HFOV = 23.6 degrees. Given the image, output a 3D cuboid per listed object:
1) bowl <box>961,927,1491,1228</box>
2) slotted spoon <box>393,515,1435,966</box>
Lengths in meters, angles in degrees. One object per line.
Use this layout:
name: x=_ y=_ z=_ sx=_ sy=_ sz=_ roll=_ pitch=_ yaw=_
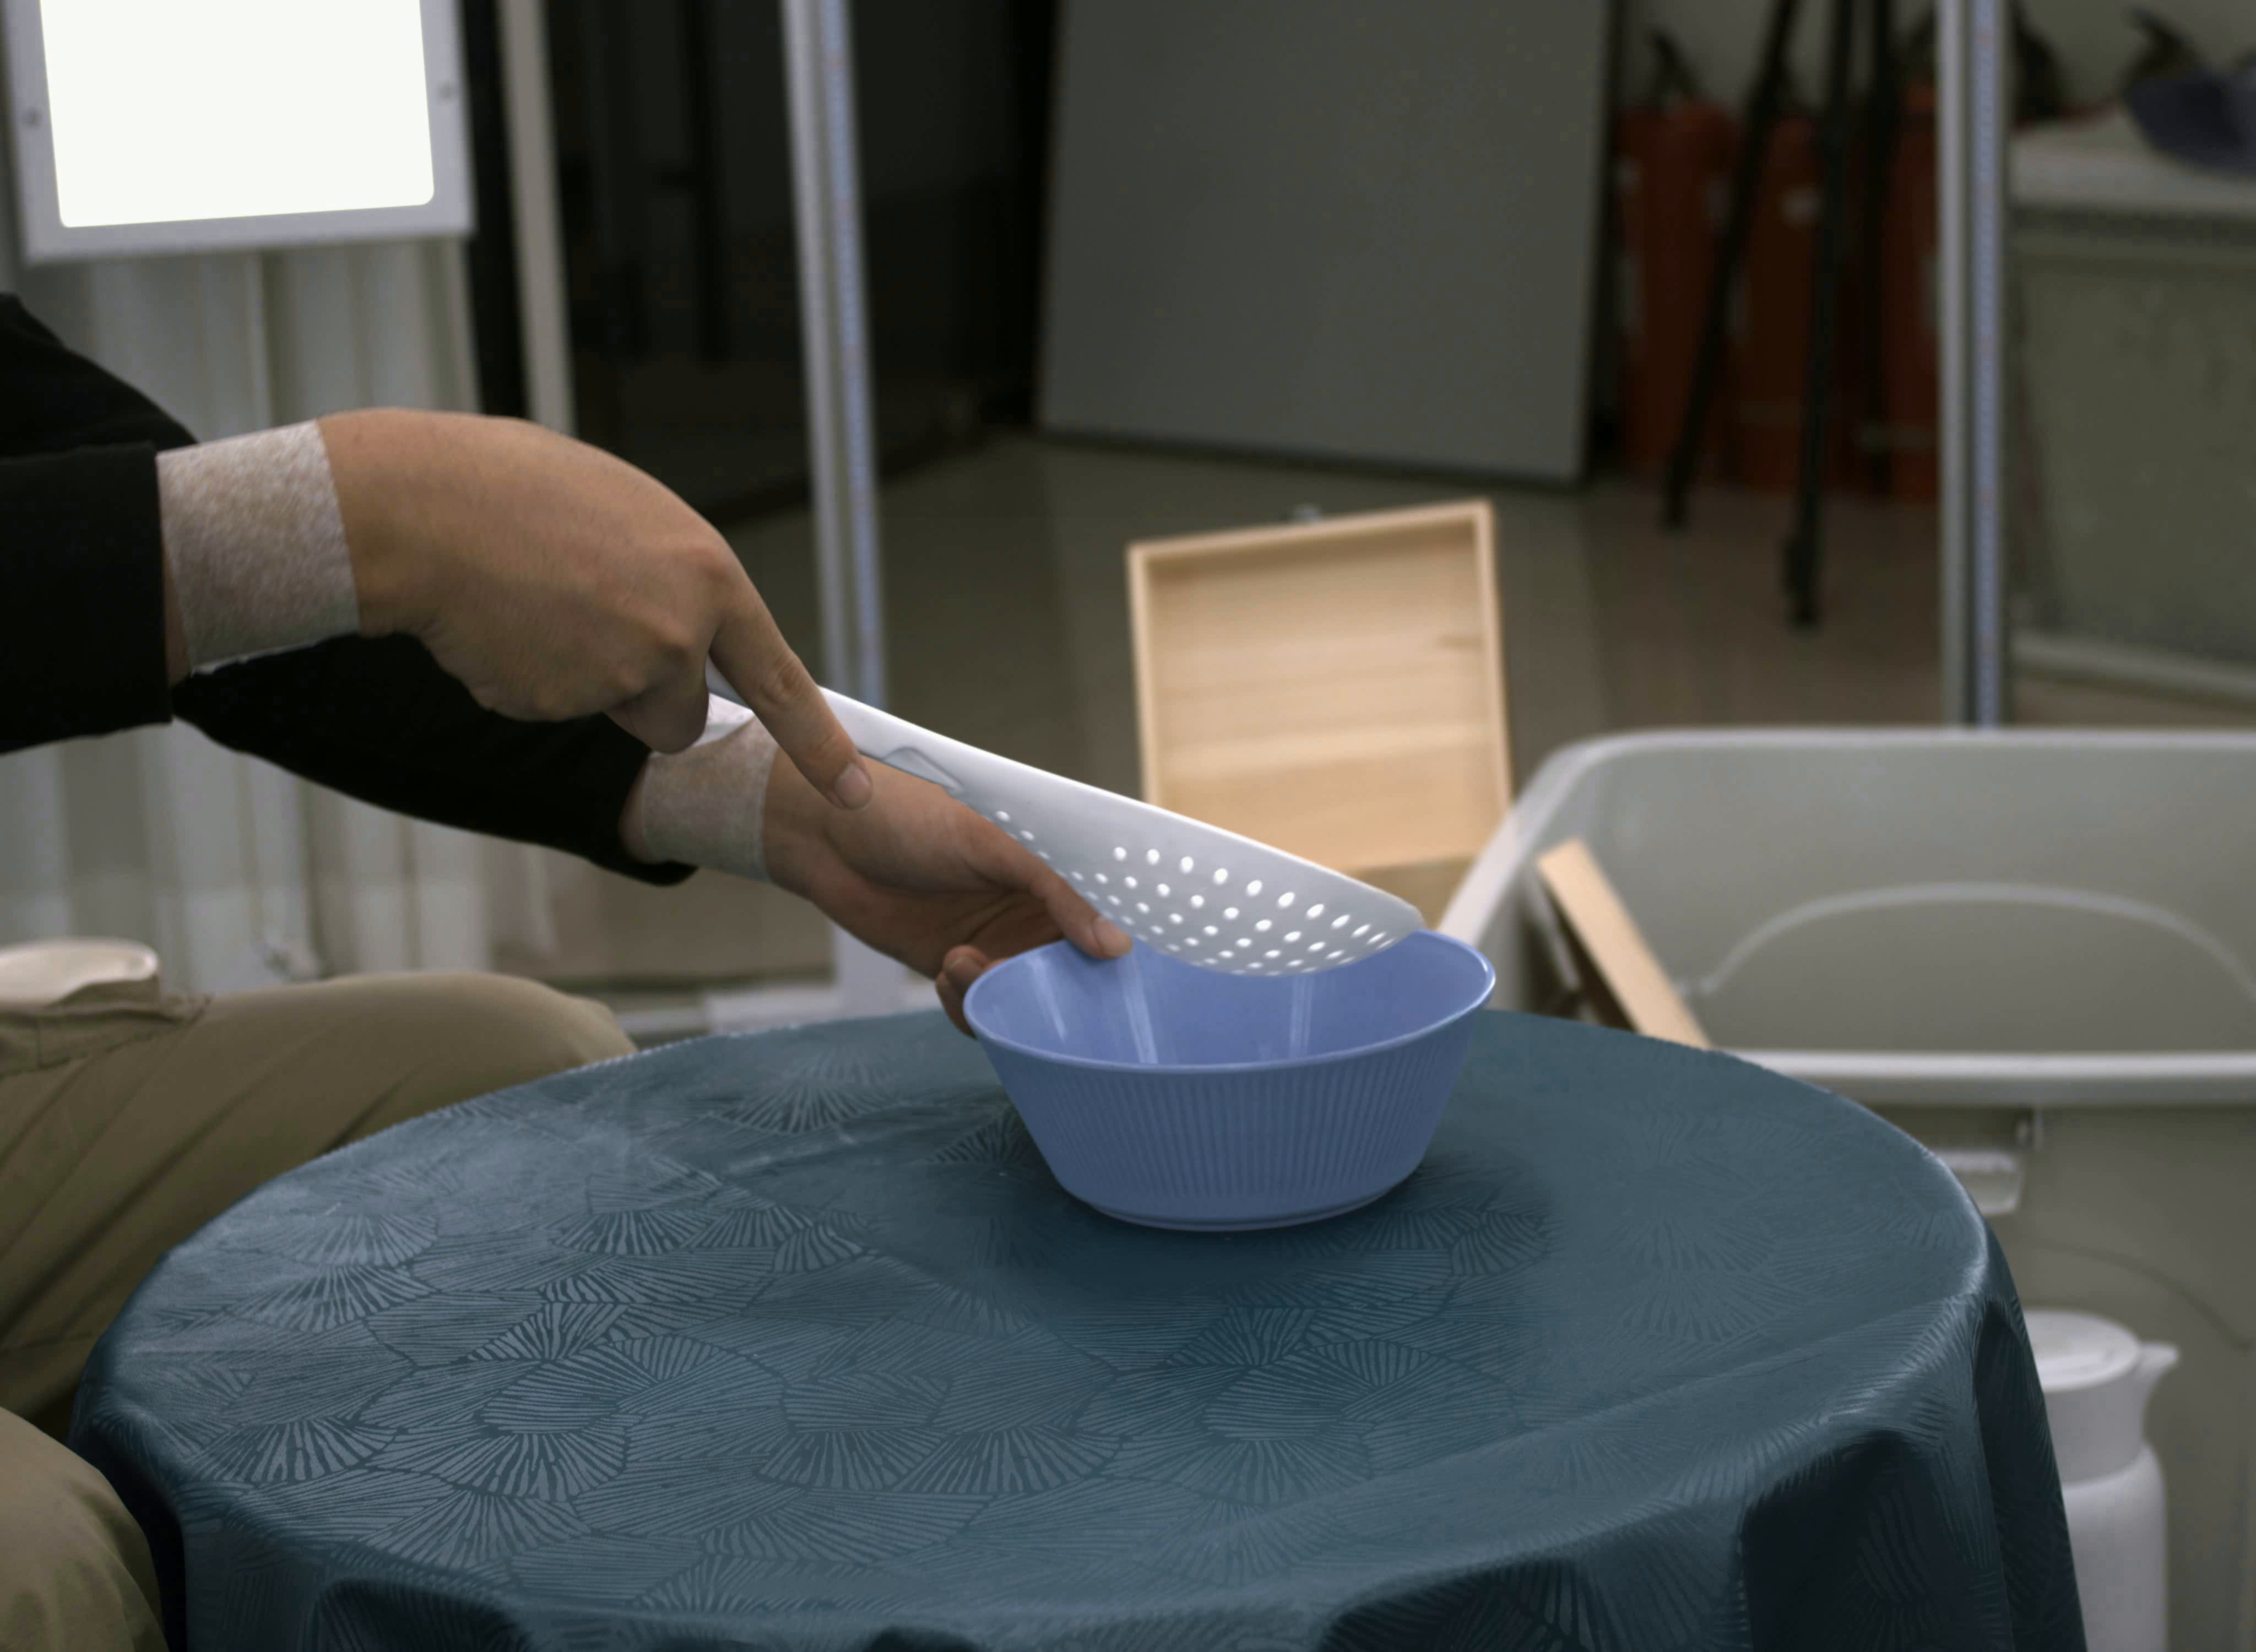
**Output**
bowl: x=0.034 y=0.083 z=1.766 sx=0.174 sy=0.071 sz=0.176 roll=-5 pitch=13 yaw=0
slotted spoon: x=-0.063 y=-0.027 z=1.650 sx=0.344 sy=0.046 sz=0.137 roll=26 pitch=-4 yaw=-20
